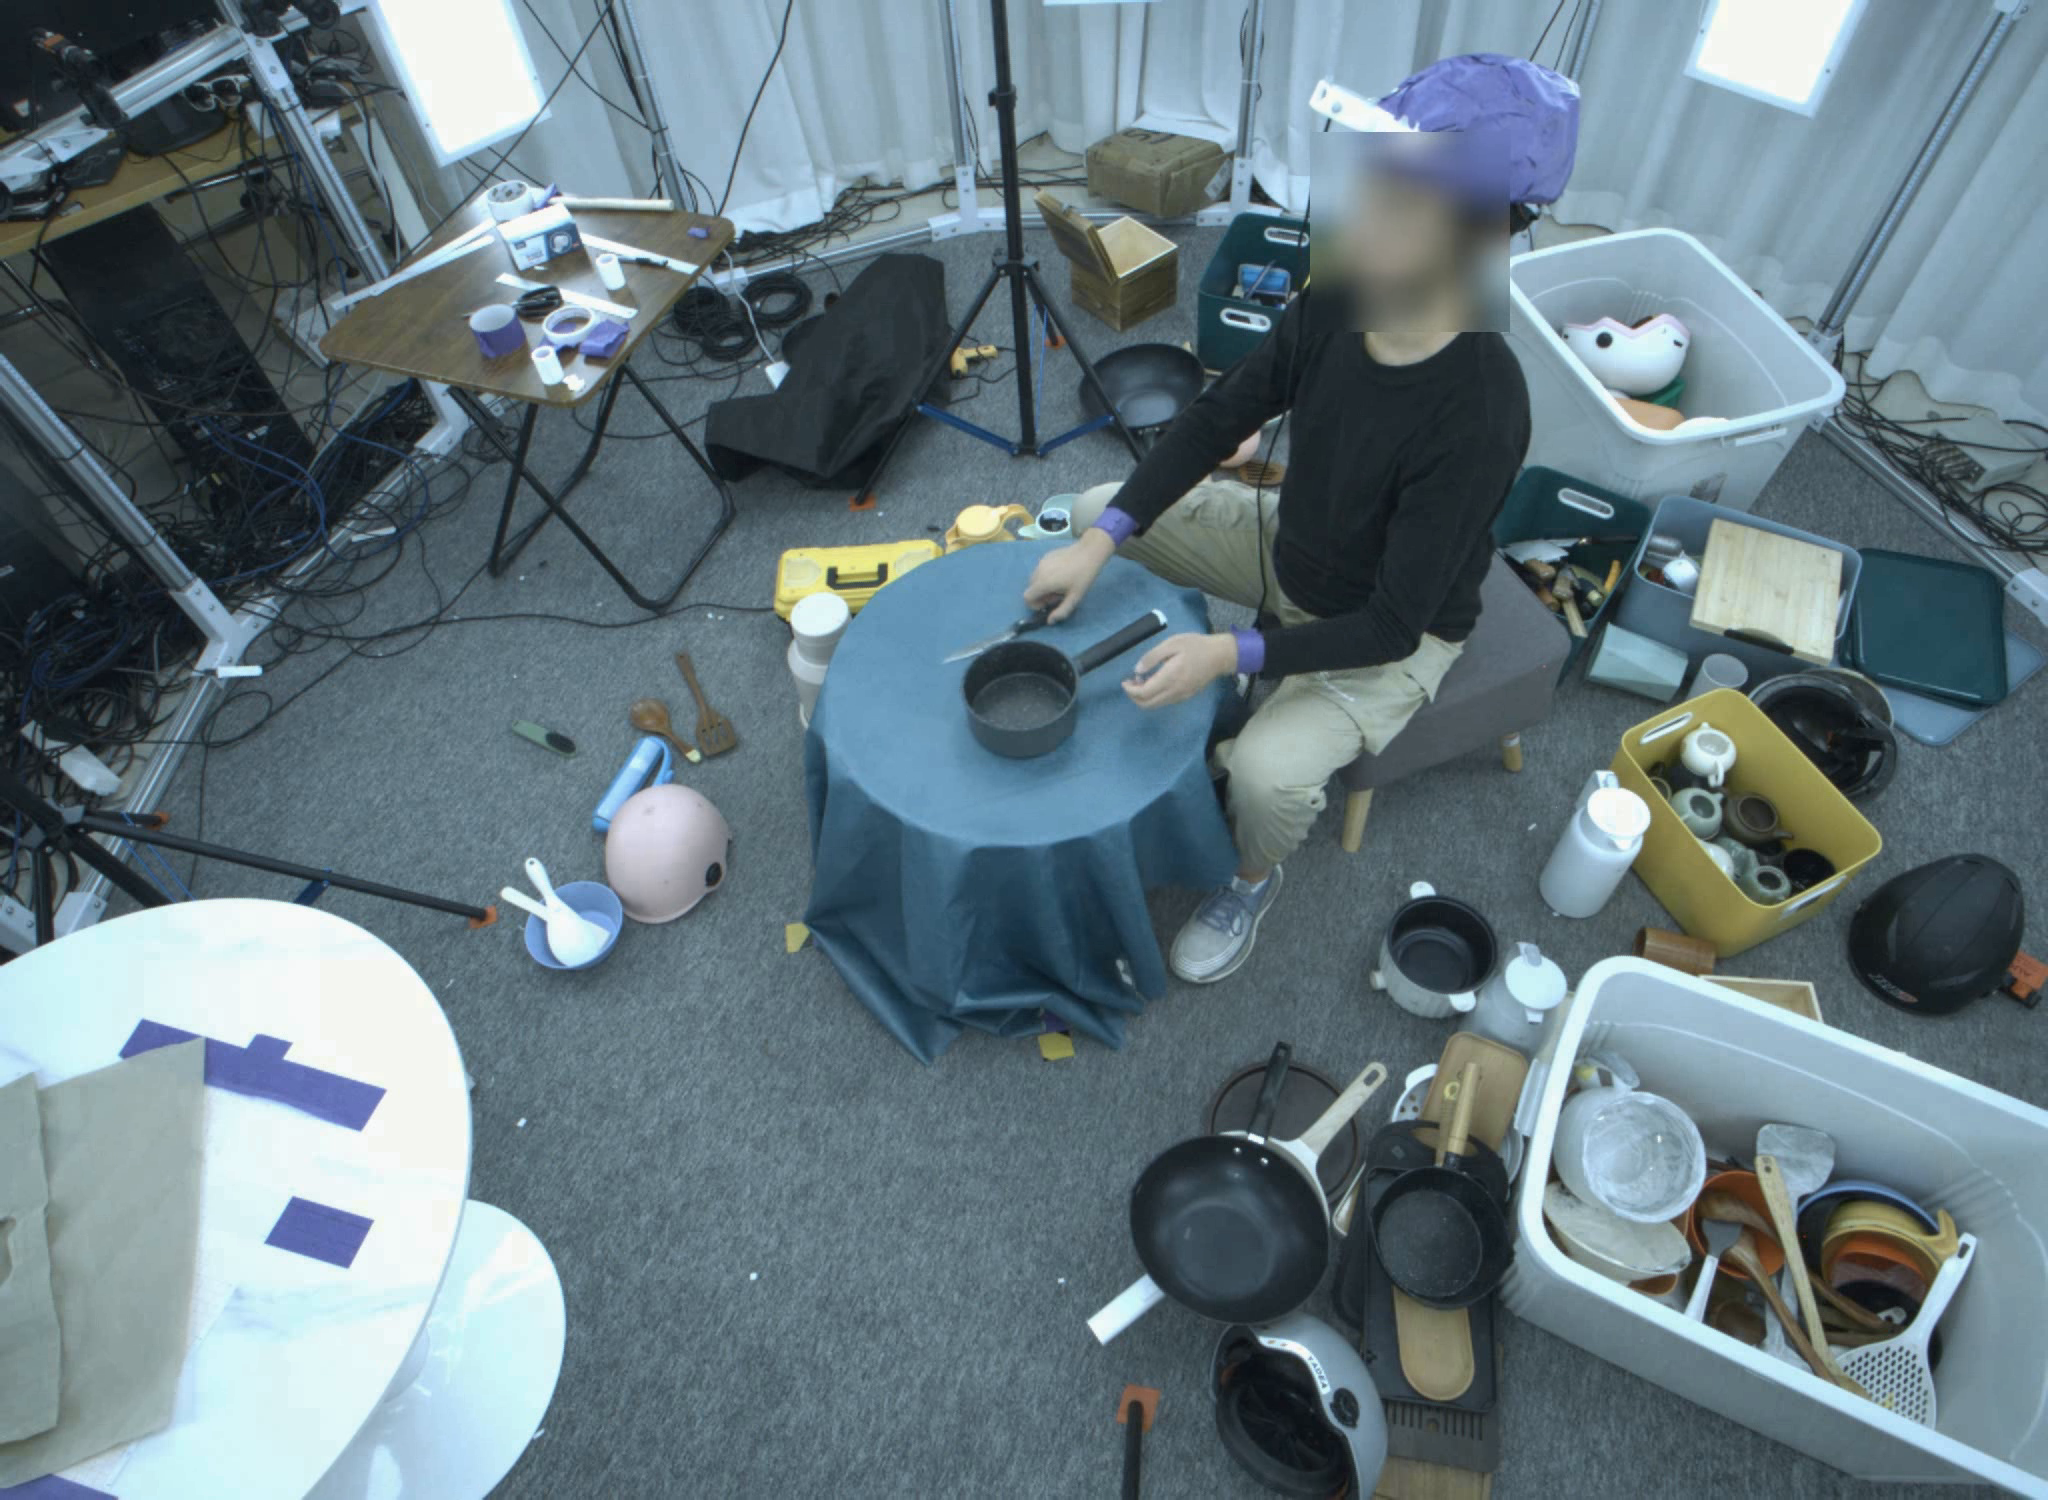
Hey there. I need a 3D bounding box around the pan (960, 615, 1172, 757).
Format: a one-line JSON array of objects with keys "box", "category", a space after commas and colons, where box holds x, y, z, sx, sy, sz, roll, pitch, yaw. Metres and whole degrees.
[{"box": [0.066, -0.107, 1.806, 0.331, 0.087, 0.169, -23, 57, -13], "category": "pan"}]

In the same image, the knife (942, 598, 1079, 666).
[{"box": [-0.023, -0.184, 1.908, 0.240, 0.016, 0.024, -26, 57, -13], "category": "knife"}]
